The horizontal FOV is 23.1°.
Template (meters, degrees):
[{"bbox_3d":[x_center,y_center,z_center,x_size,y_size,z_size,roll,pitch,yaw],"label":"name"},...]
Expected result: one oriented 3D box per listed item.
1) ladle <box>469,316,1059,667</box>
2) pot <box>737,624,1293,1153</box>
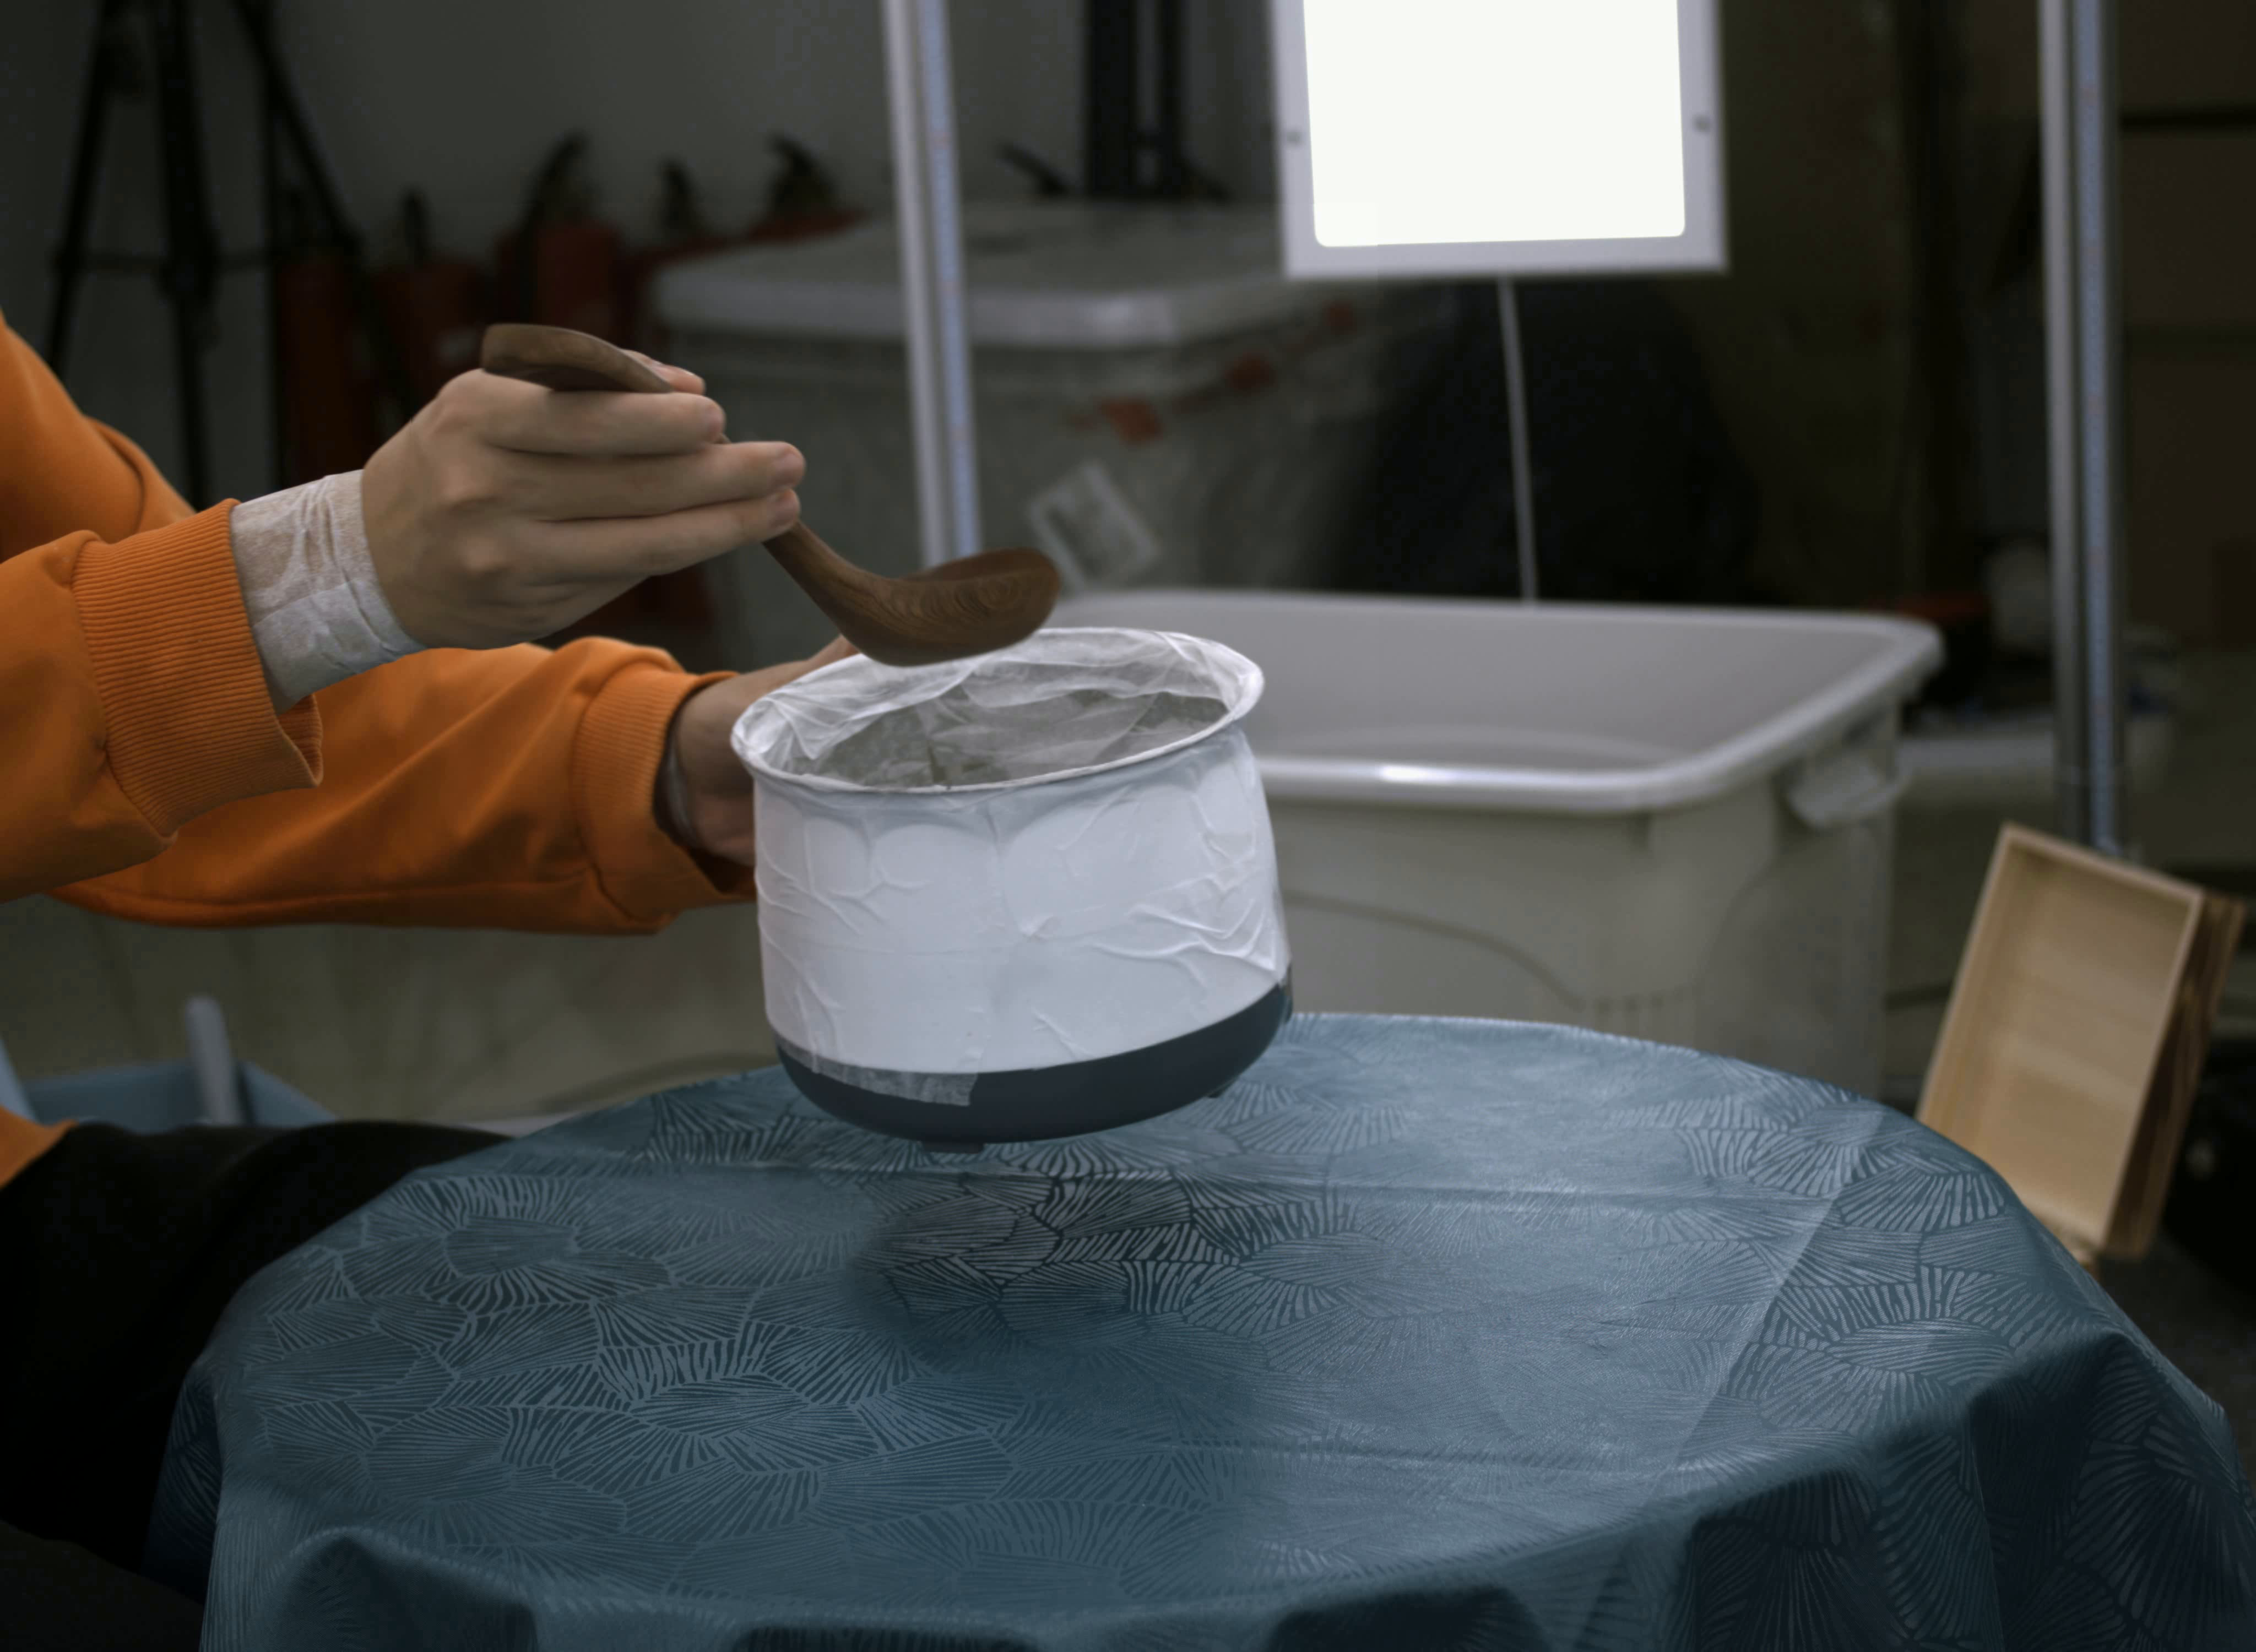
[{"bbox_3d":[-0.113,-0.114,1.700,0.078,0.065,0.255,-16,-33,32],"label":"ladle"},{"bbox_3d":[-0.047,0.013,1.853,0.175,0.137,0.237,-12,19,-20],"label":"pot"}]
